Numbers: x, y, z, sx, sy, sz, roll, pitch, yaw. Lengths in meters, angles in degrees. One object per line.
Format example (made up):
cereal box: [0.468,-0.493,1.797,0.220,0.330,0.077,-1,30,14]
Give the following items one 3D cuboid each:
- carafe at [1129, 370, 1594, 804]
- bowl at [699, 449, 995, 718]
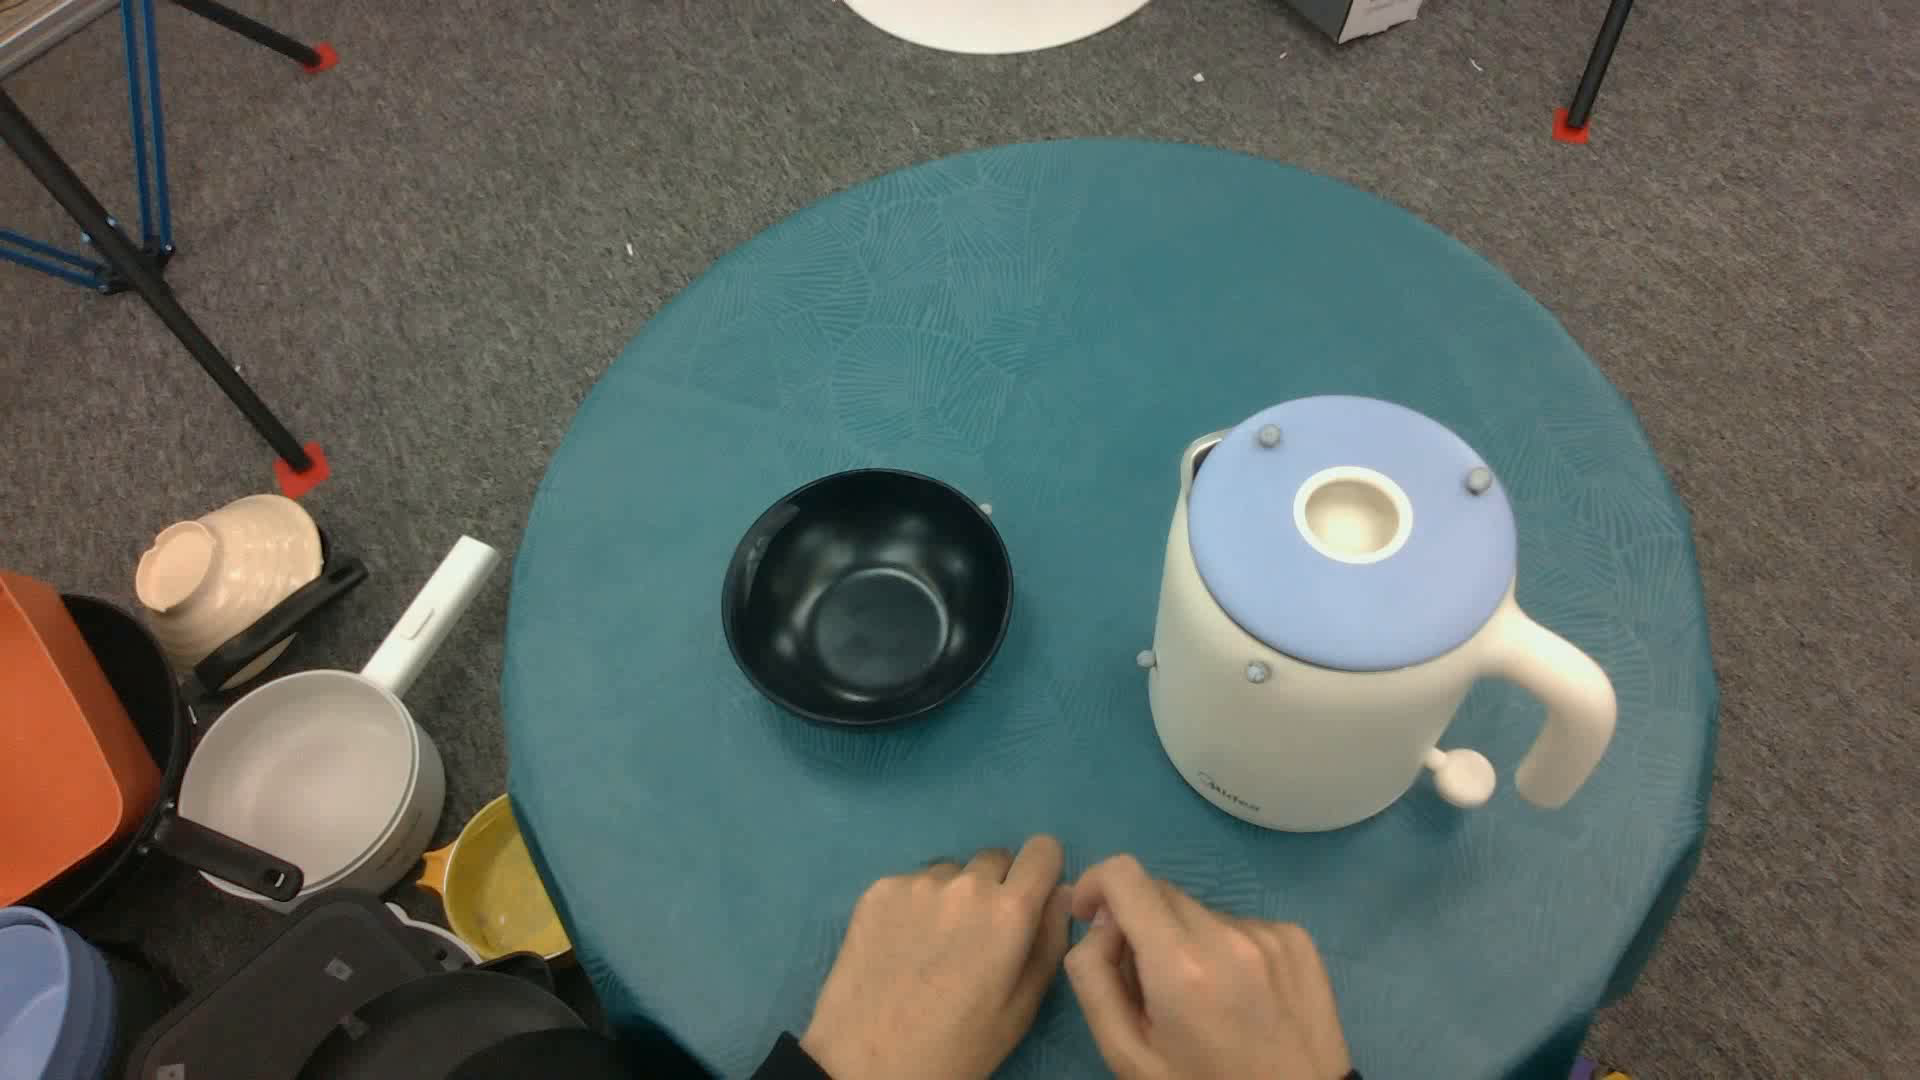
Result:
carafe: [0.163,0.037,0.579,0.191,0.182,0.133,28,66,15]
bowl: [-0.053,0.027,0.665,0.140,0.049,0.140,-1,61,1]
